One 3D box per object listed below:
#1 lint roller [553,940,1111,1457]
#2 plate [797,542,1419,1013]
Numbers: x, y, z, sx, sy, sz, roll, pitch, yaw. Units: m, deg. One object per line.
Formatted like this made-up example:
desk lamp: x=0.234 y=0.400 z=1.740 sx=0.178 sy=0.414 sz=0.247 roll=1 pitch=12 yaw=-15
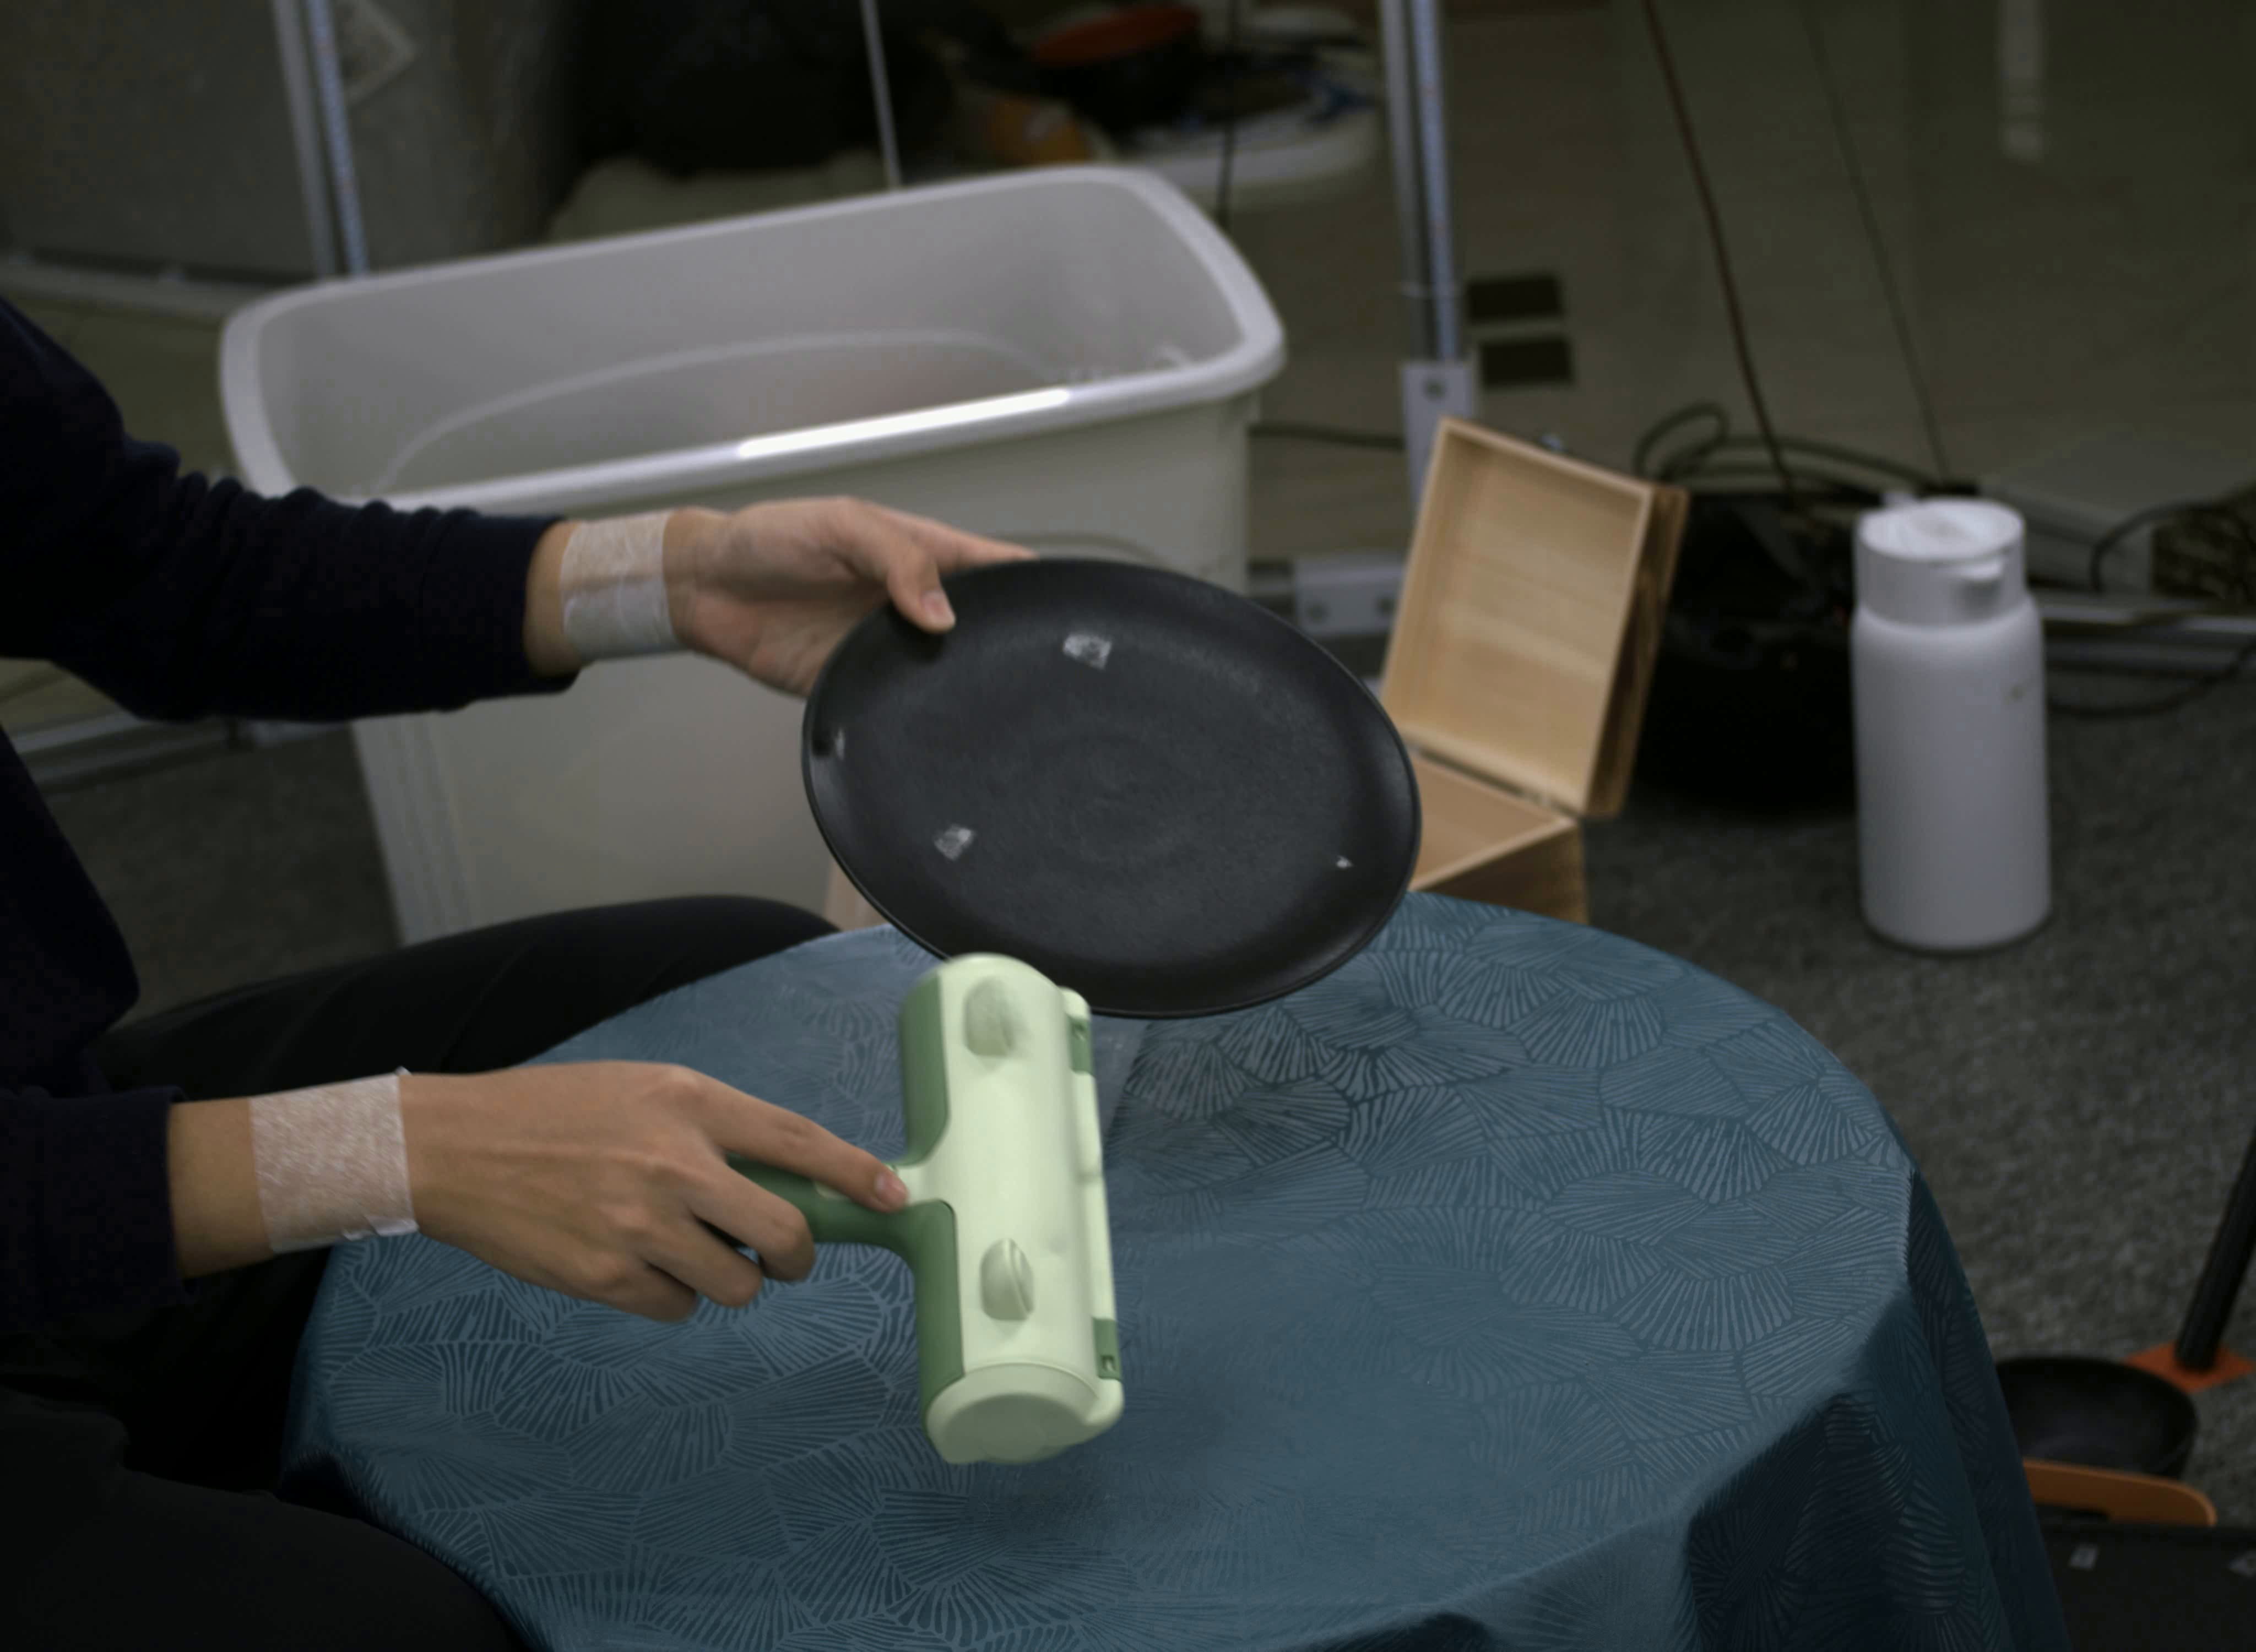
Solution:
lint roller: x=-0.100 y=0.114 z=1.945 sx=0.183 sy=0.083 sz=0.195 roll=10 pitch=47 yaw=-20
plate: x=-0.008 y=-0.016 z=2.181 sx=0.244 sy=0.024 sz=0.240 roll=7 pitch=48 yaw=-8
